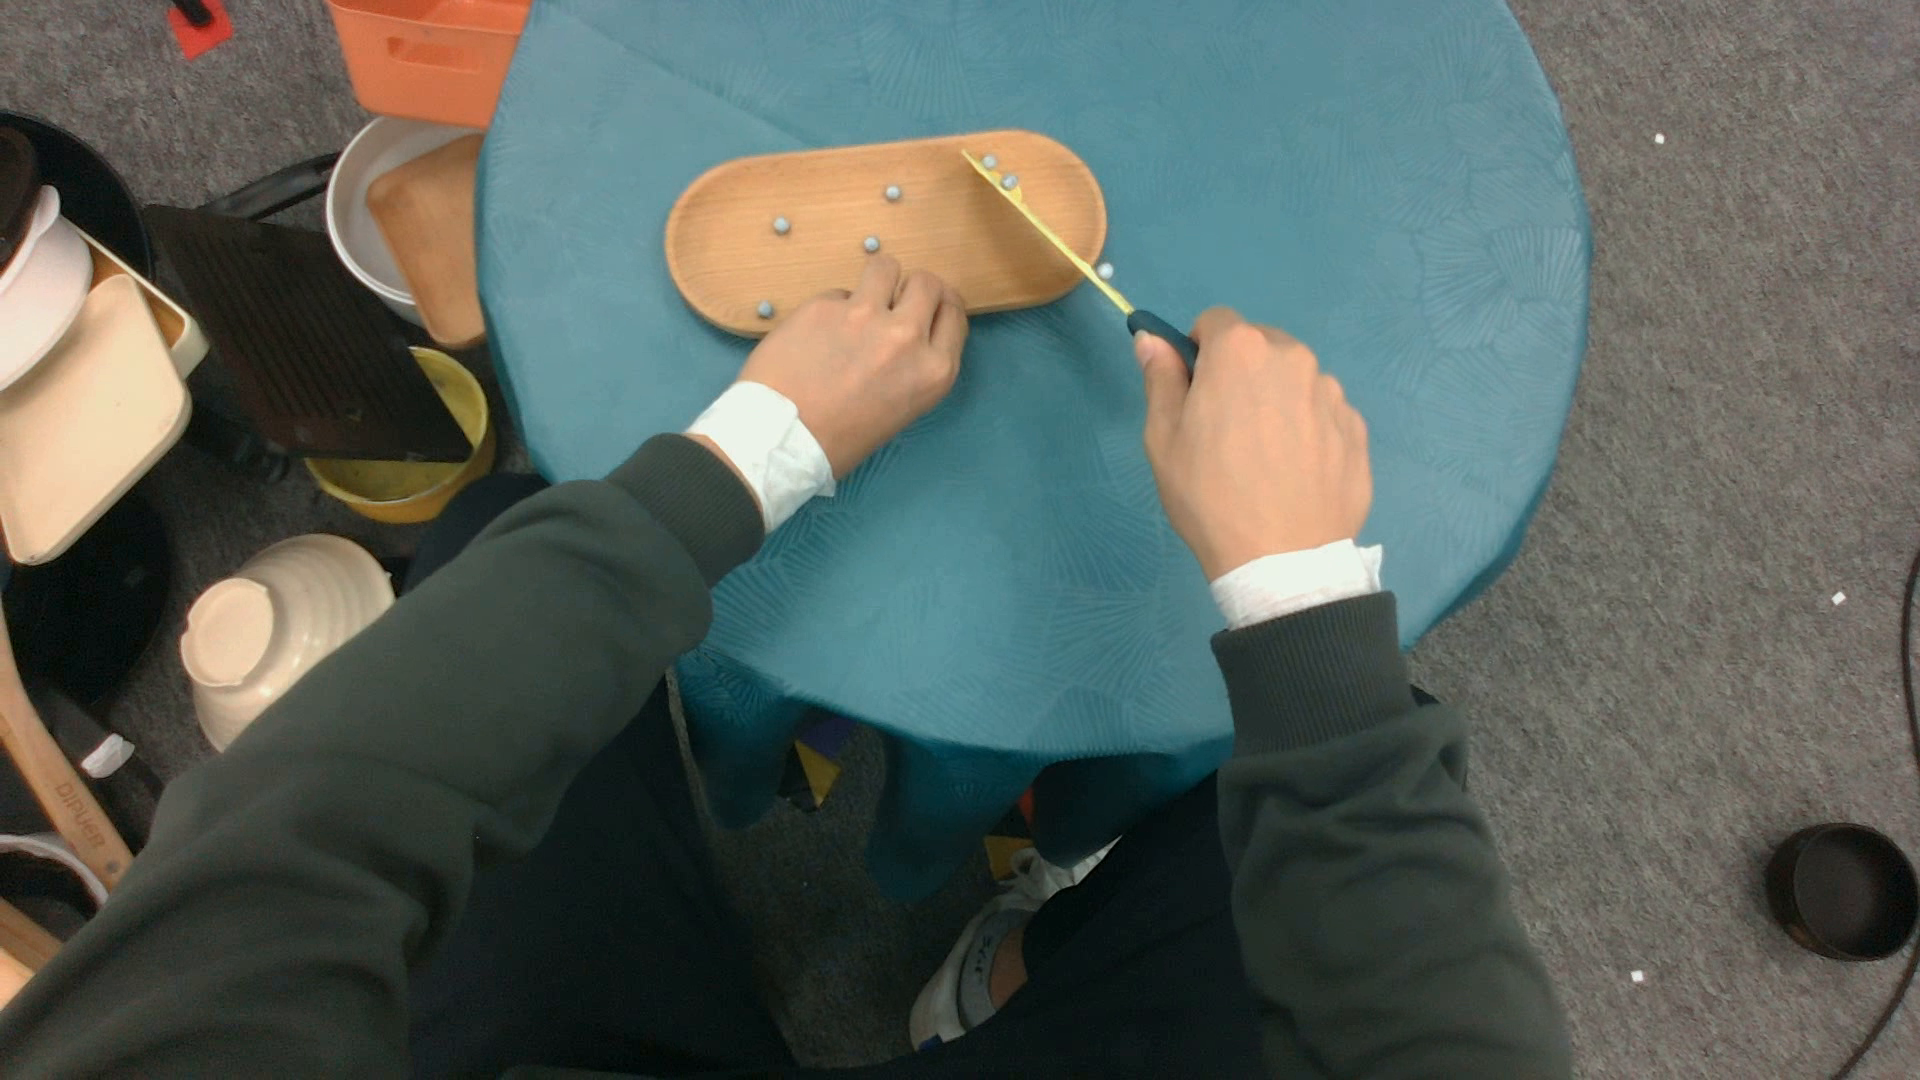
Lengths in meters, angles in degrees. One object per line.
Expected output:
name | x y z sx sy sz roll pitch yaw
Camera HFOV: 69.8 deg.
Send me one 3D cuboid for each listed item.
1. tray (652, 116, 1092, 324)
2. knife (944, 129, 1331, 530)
tray | -0.044 -0.168 0.724 0.231 0.020 0.102 -8 75 -10
knife | 0.077 -0.110 0.658 0.027 0.081 0.290 -46 64 17
